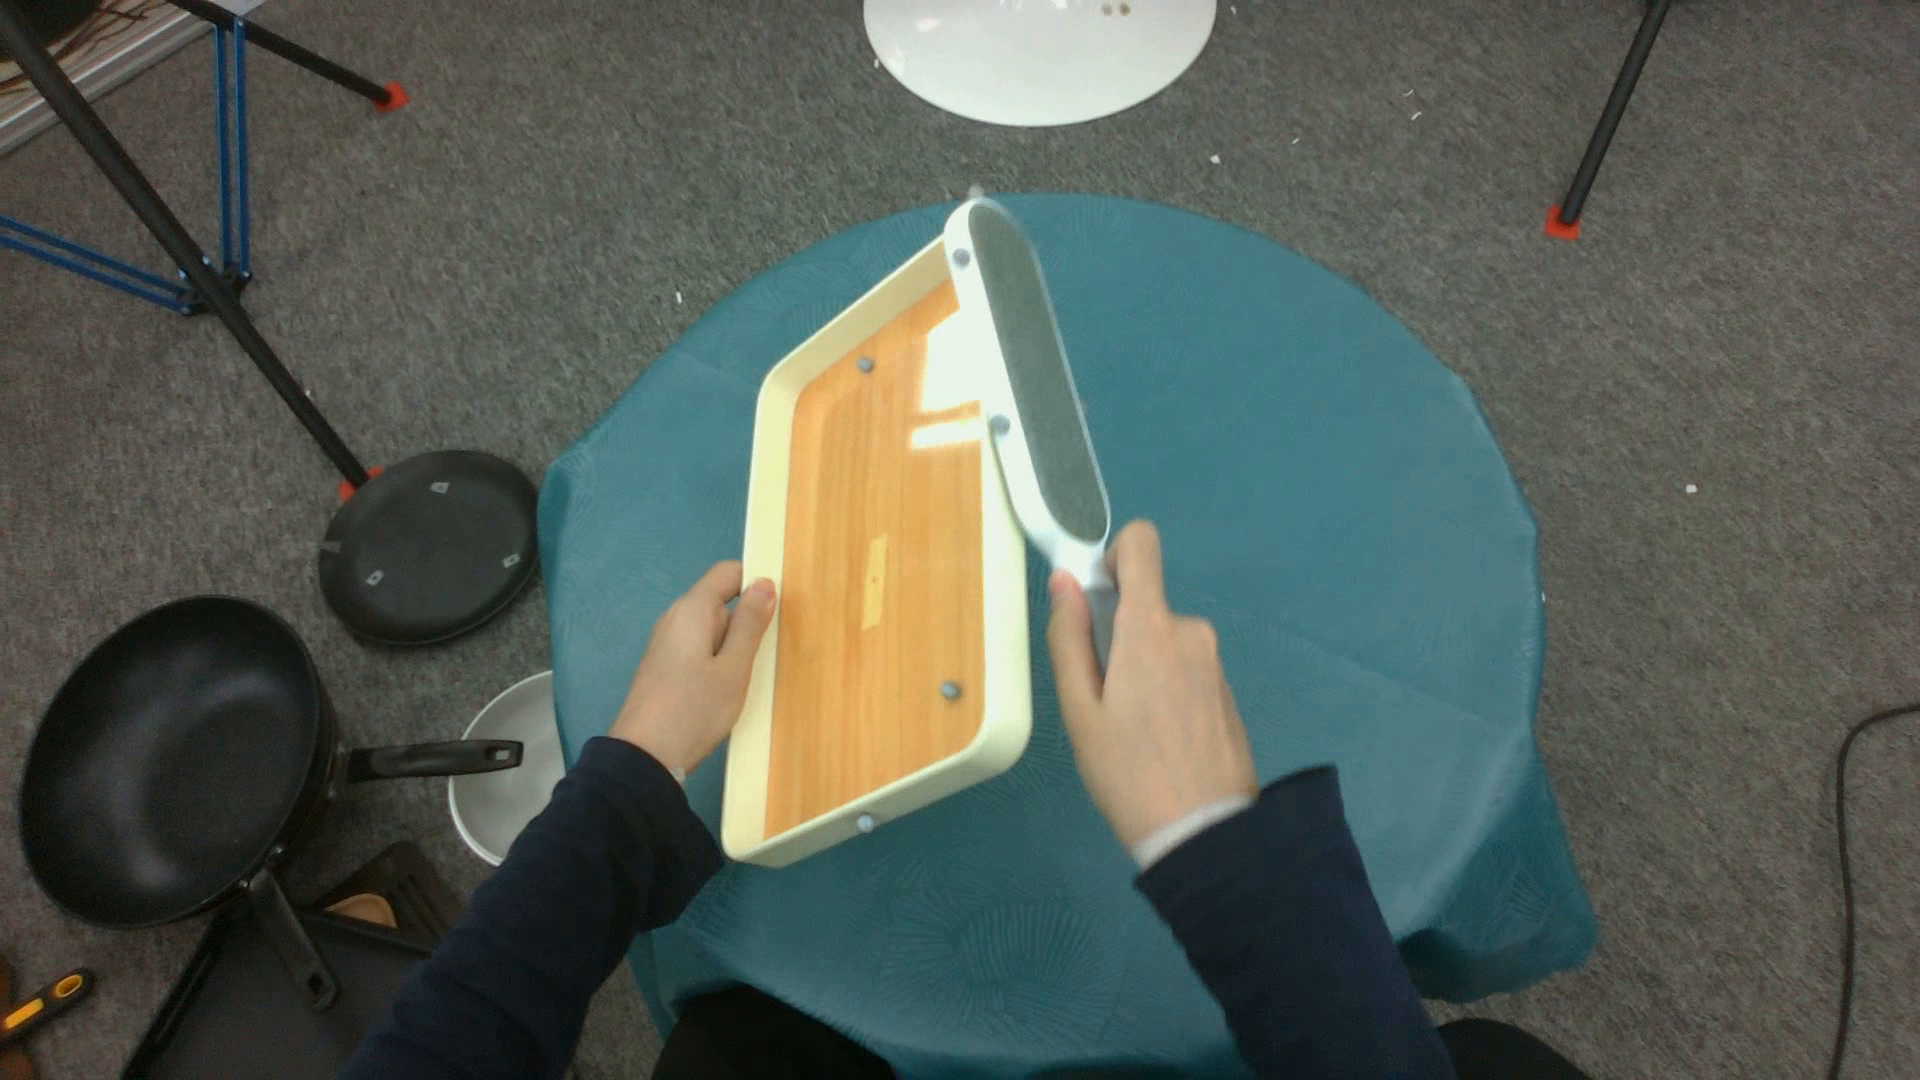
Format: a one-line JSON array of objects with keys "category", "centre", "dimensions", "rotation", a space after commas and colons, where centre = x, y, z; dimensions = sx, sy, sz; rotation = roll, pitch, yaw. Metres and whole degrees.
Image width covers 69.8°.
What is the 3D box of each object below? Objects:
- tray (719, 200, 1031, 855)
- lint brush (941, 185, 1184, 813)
[{"category": "tray", "centre": [-0.046, -0.010, 0.682], "dimensions": [0.190, 0.027, 0.301], "rotation": [-29, 49, 38]}, {"category": "lint brush", "centre": [0.045, -0.028, 0.622], "dimensions": [0.021, 0.060, 0.309], "rotation": [-27, 69, 32]}]
